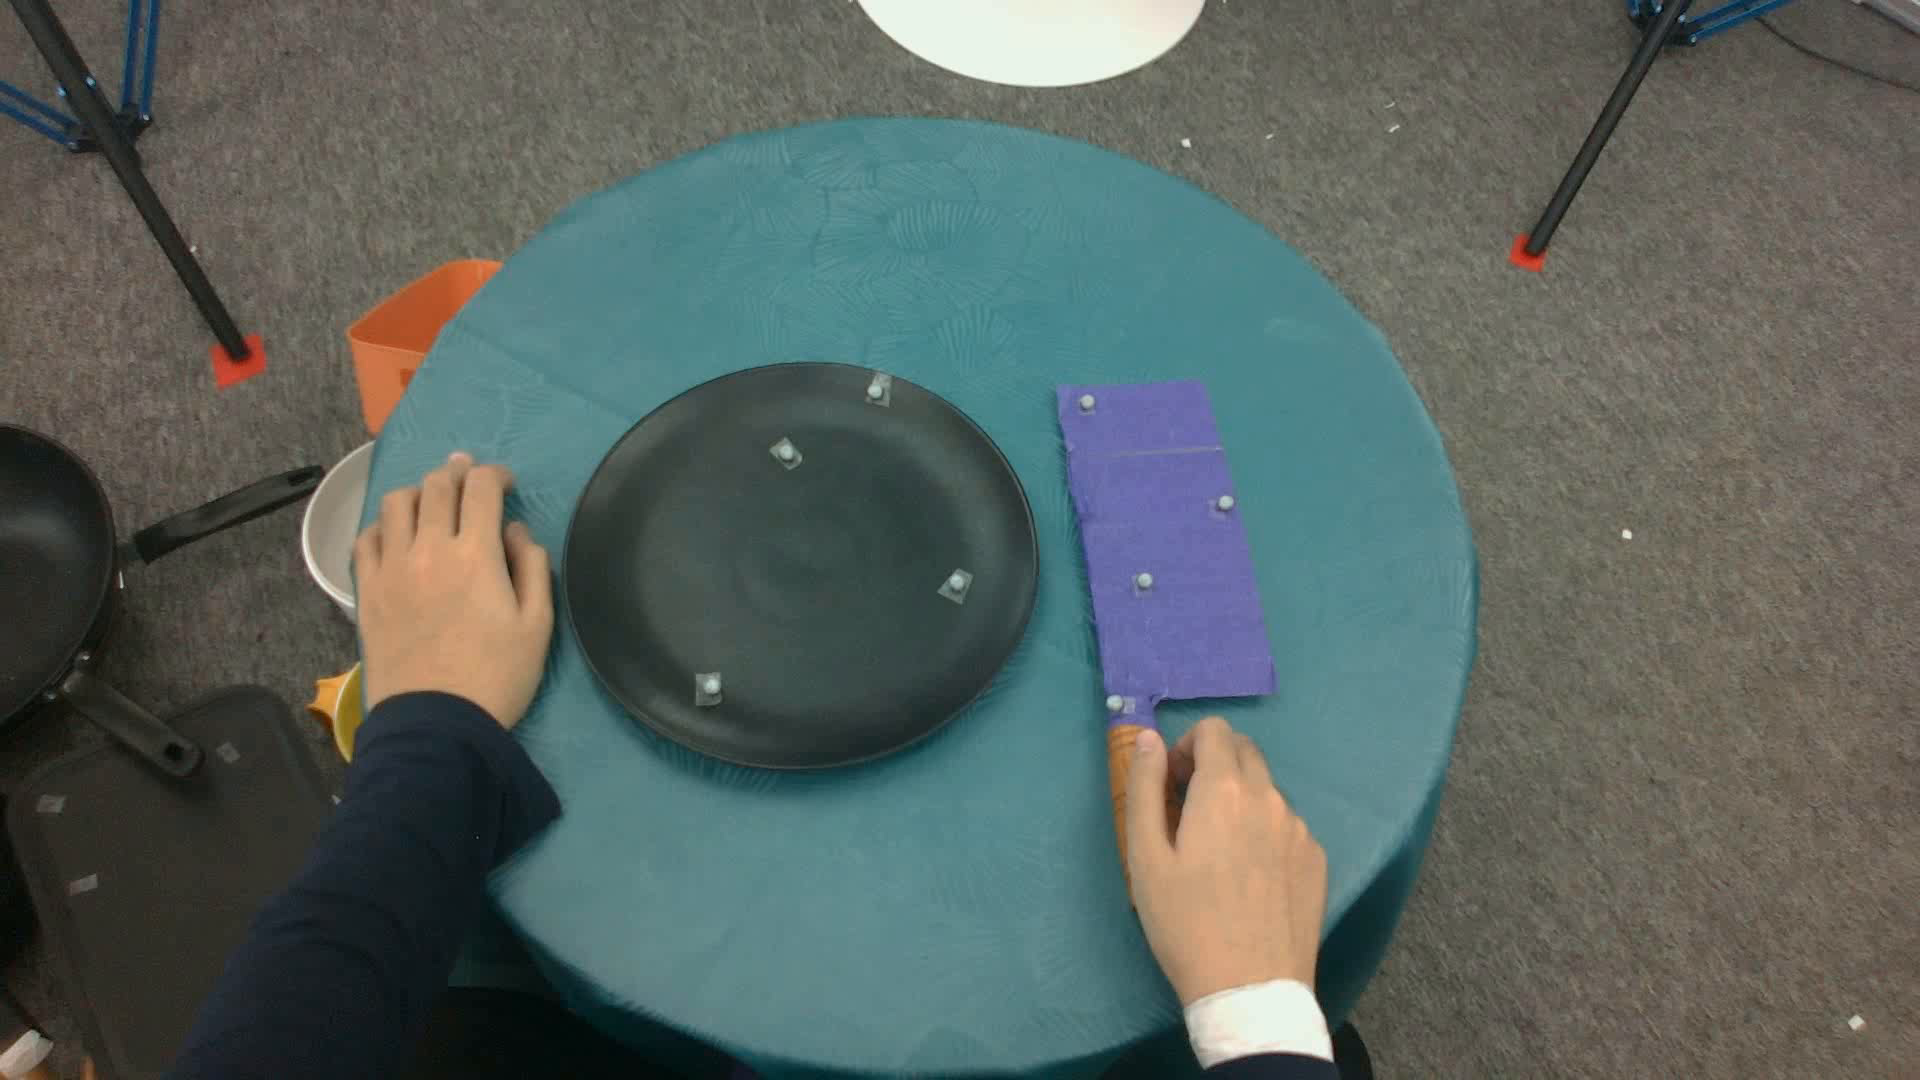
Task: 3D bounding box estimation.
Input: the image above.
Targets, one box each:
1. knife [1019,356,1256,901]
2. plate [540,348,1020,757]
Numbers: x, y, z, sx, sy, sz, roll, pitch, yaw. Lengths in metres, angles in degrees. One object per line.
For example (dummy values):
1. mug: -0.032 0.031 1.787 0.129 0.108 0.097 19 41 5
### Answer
1. knife: 0.102 0.026 0.716 0.104 0.032 0.316 -3 59 -7
2. plate: -0.091 0.002 0.714 0.244 0.023 0.245 3 59 -4
